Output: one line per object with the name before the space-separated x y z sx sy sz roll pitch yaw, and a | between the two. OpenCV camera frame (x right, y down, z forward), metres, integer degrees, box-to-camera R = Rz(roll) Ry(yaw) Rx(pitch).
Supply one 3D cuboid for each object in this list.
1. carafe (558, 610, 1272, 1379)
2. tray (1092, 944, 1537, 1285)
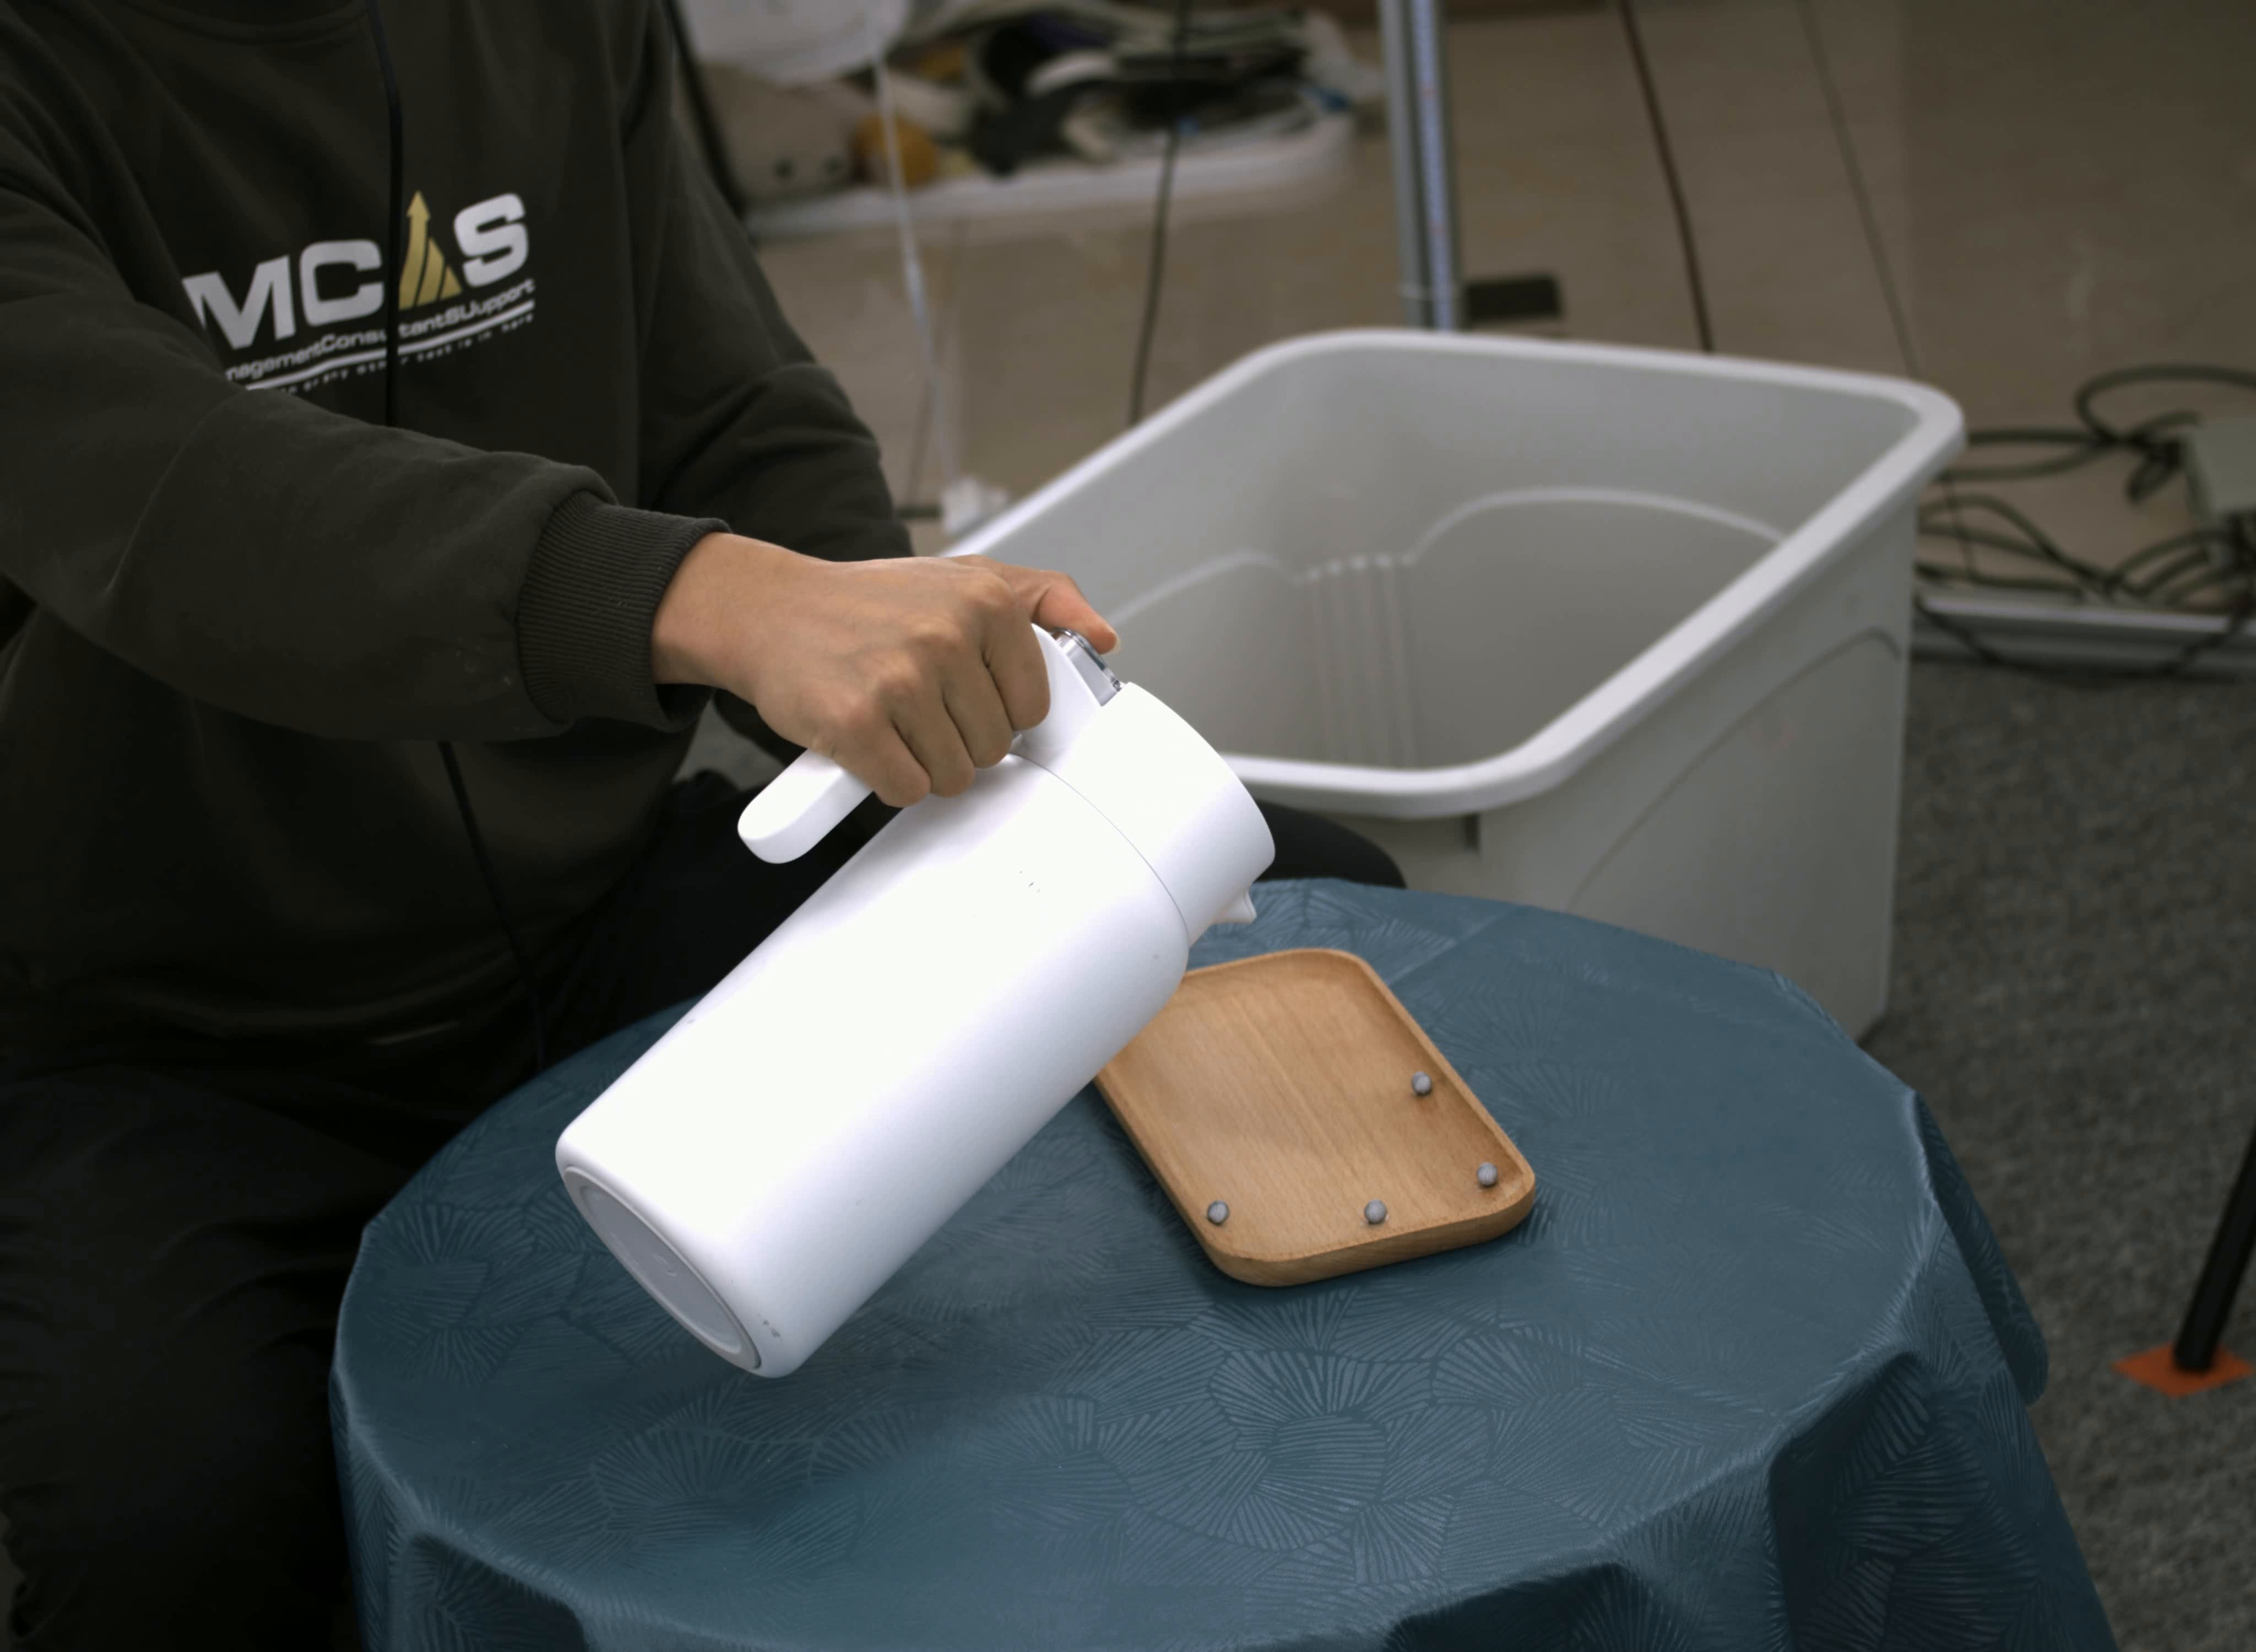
carafe | -0.080 0.055 2.010 0.267 0.175 0.122 -44 34 -14
tray | 0.064 0.109 2.178 0.130 0.023 0.247 -9 24 -12
